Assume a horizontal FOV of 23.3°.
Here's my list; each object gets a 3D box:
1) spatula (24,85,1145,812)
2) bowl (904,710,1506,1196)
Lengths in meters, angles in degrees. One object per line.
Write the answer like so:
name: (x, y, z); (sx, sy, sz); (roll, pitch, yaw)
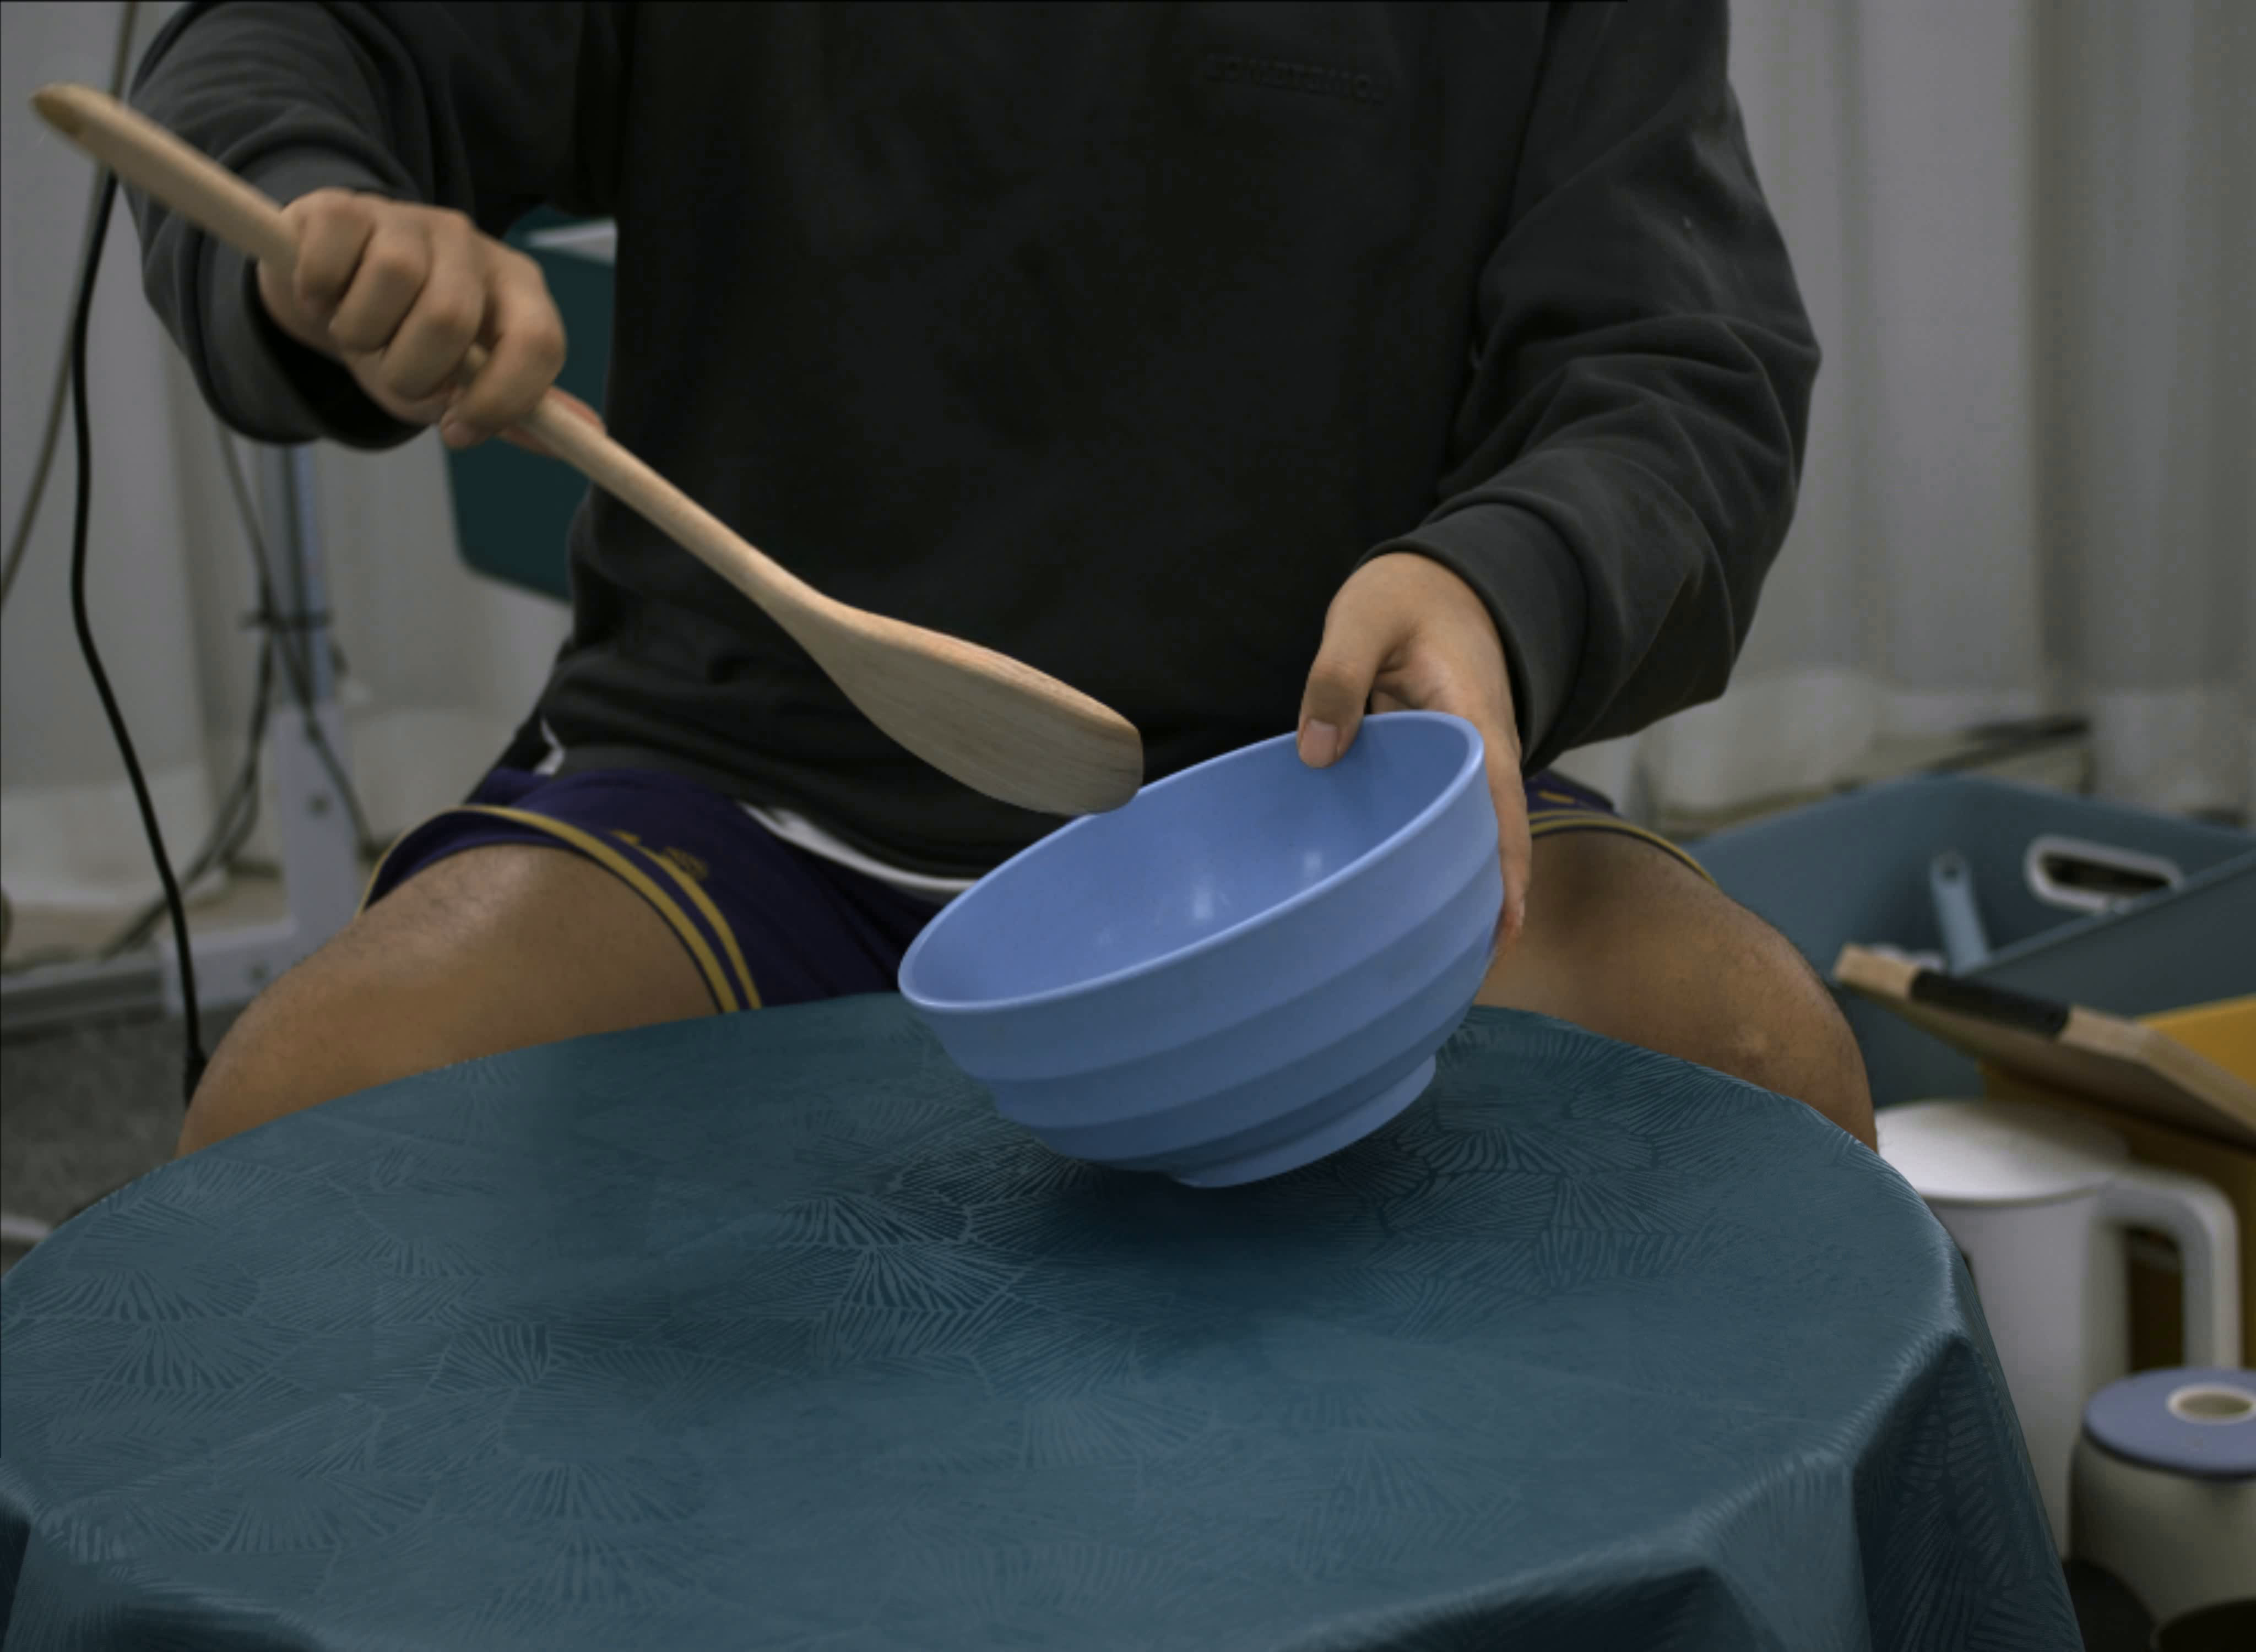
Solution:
spatula: (-0.163, -0.114, 1.641); (0.390, 0.018, 0.095); (34, -24, -1)
bowl: (0.037, 0.052, 1.704); (0.196, 0.095, 0.198); (-24, 16, 6)
